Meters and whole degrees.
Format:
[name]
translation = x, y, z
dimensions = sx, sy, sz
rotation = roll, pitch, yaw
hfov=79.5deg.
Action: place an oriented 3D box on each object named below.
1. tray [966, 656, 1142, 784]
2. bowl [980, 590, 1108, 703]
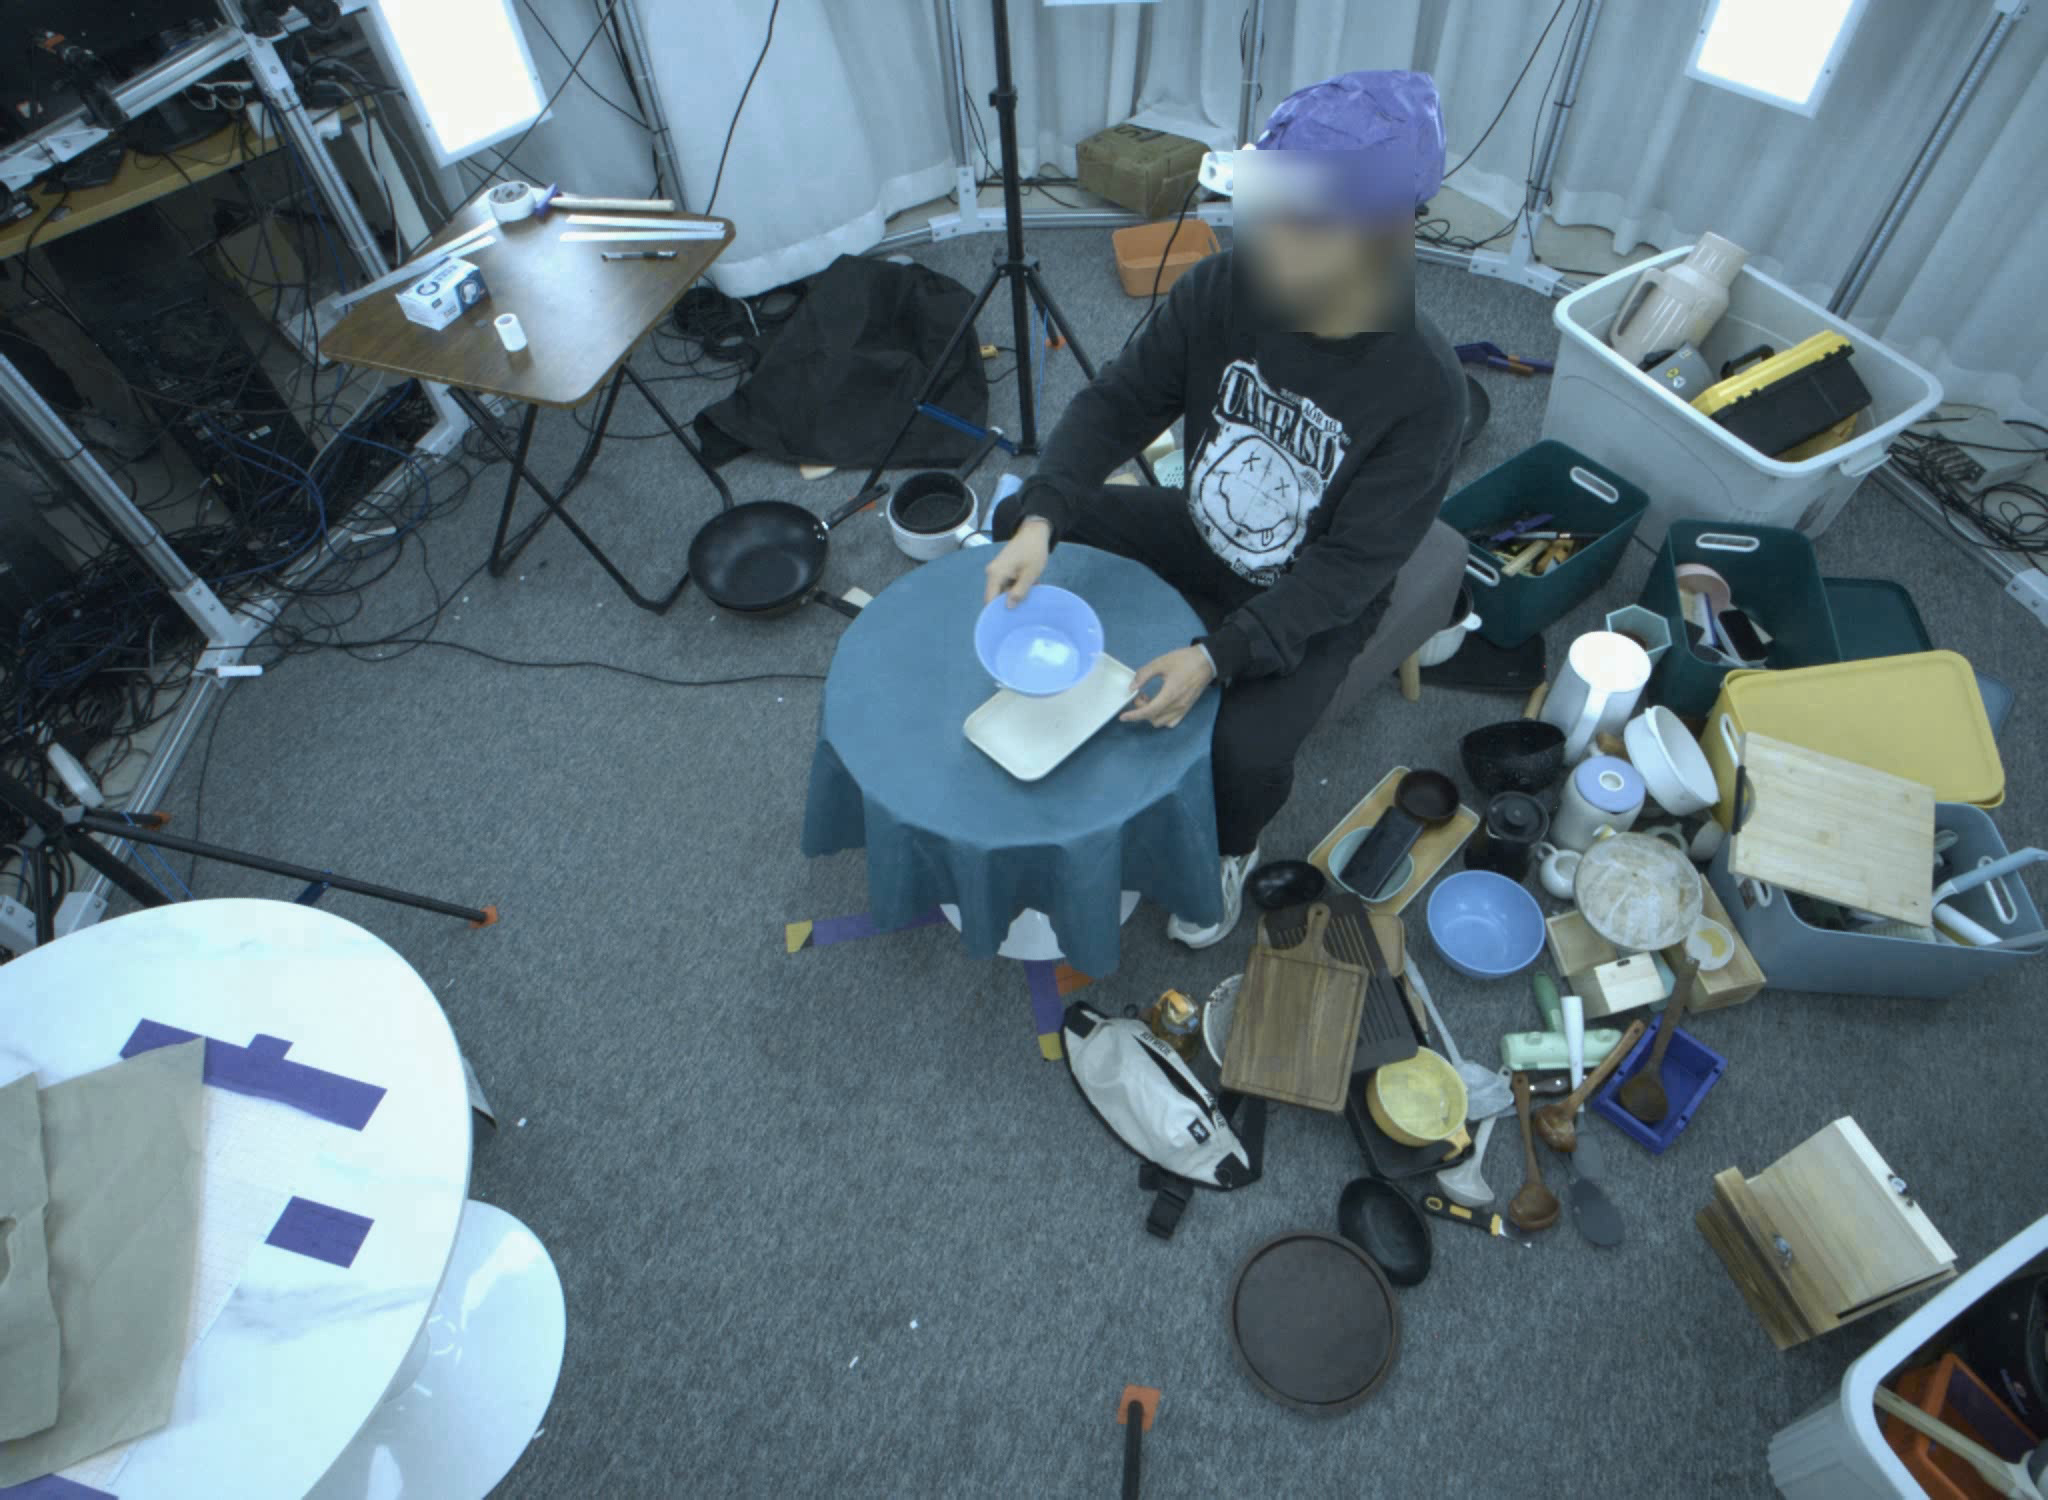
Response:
[tray]
translation = 0.045, -0.056, 1.803
dimensions = 0.241, 0.018, 0.167
rotation = -40, 55, -17
[bowl]
translation = 0.026, -0.133, 1.710
dimensions = 0.176, 0.070, 0.174
rotation = 2, 64, -3
